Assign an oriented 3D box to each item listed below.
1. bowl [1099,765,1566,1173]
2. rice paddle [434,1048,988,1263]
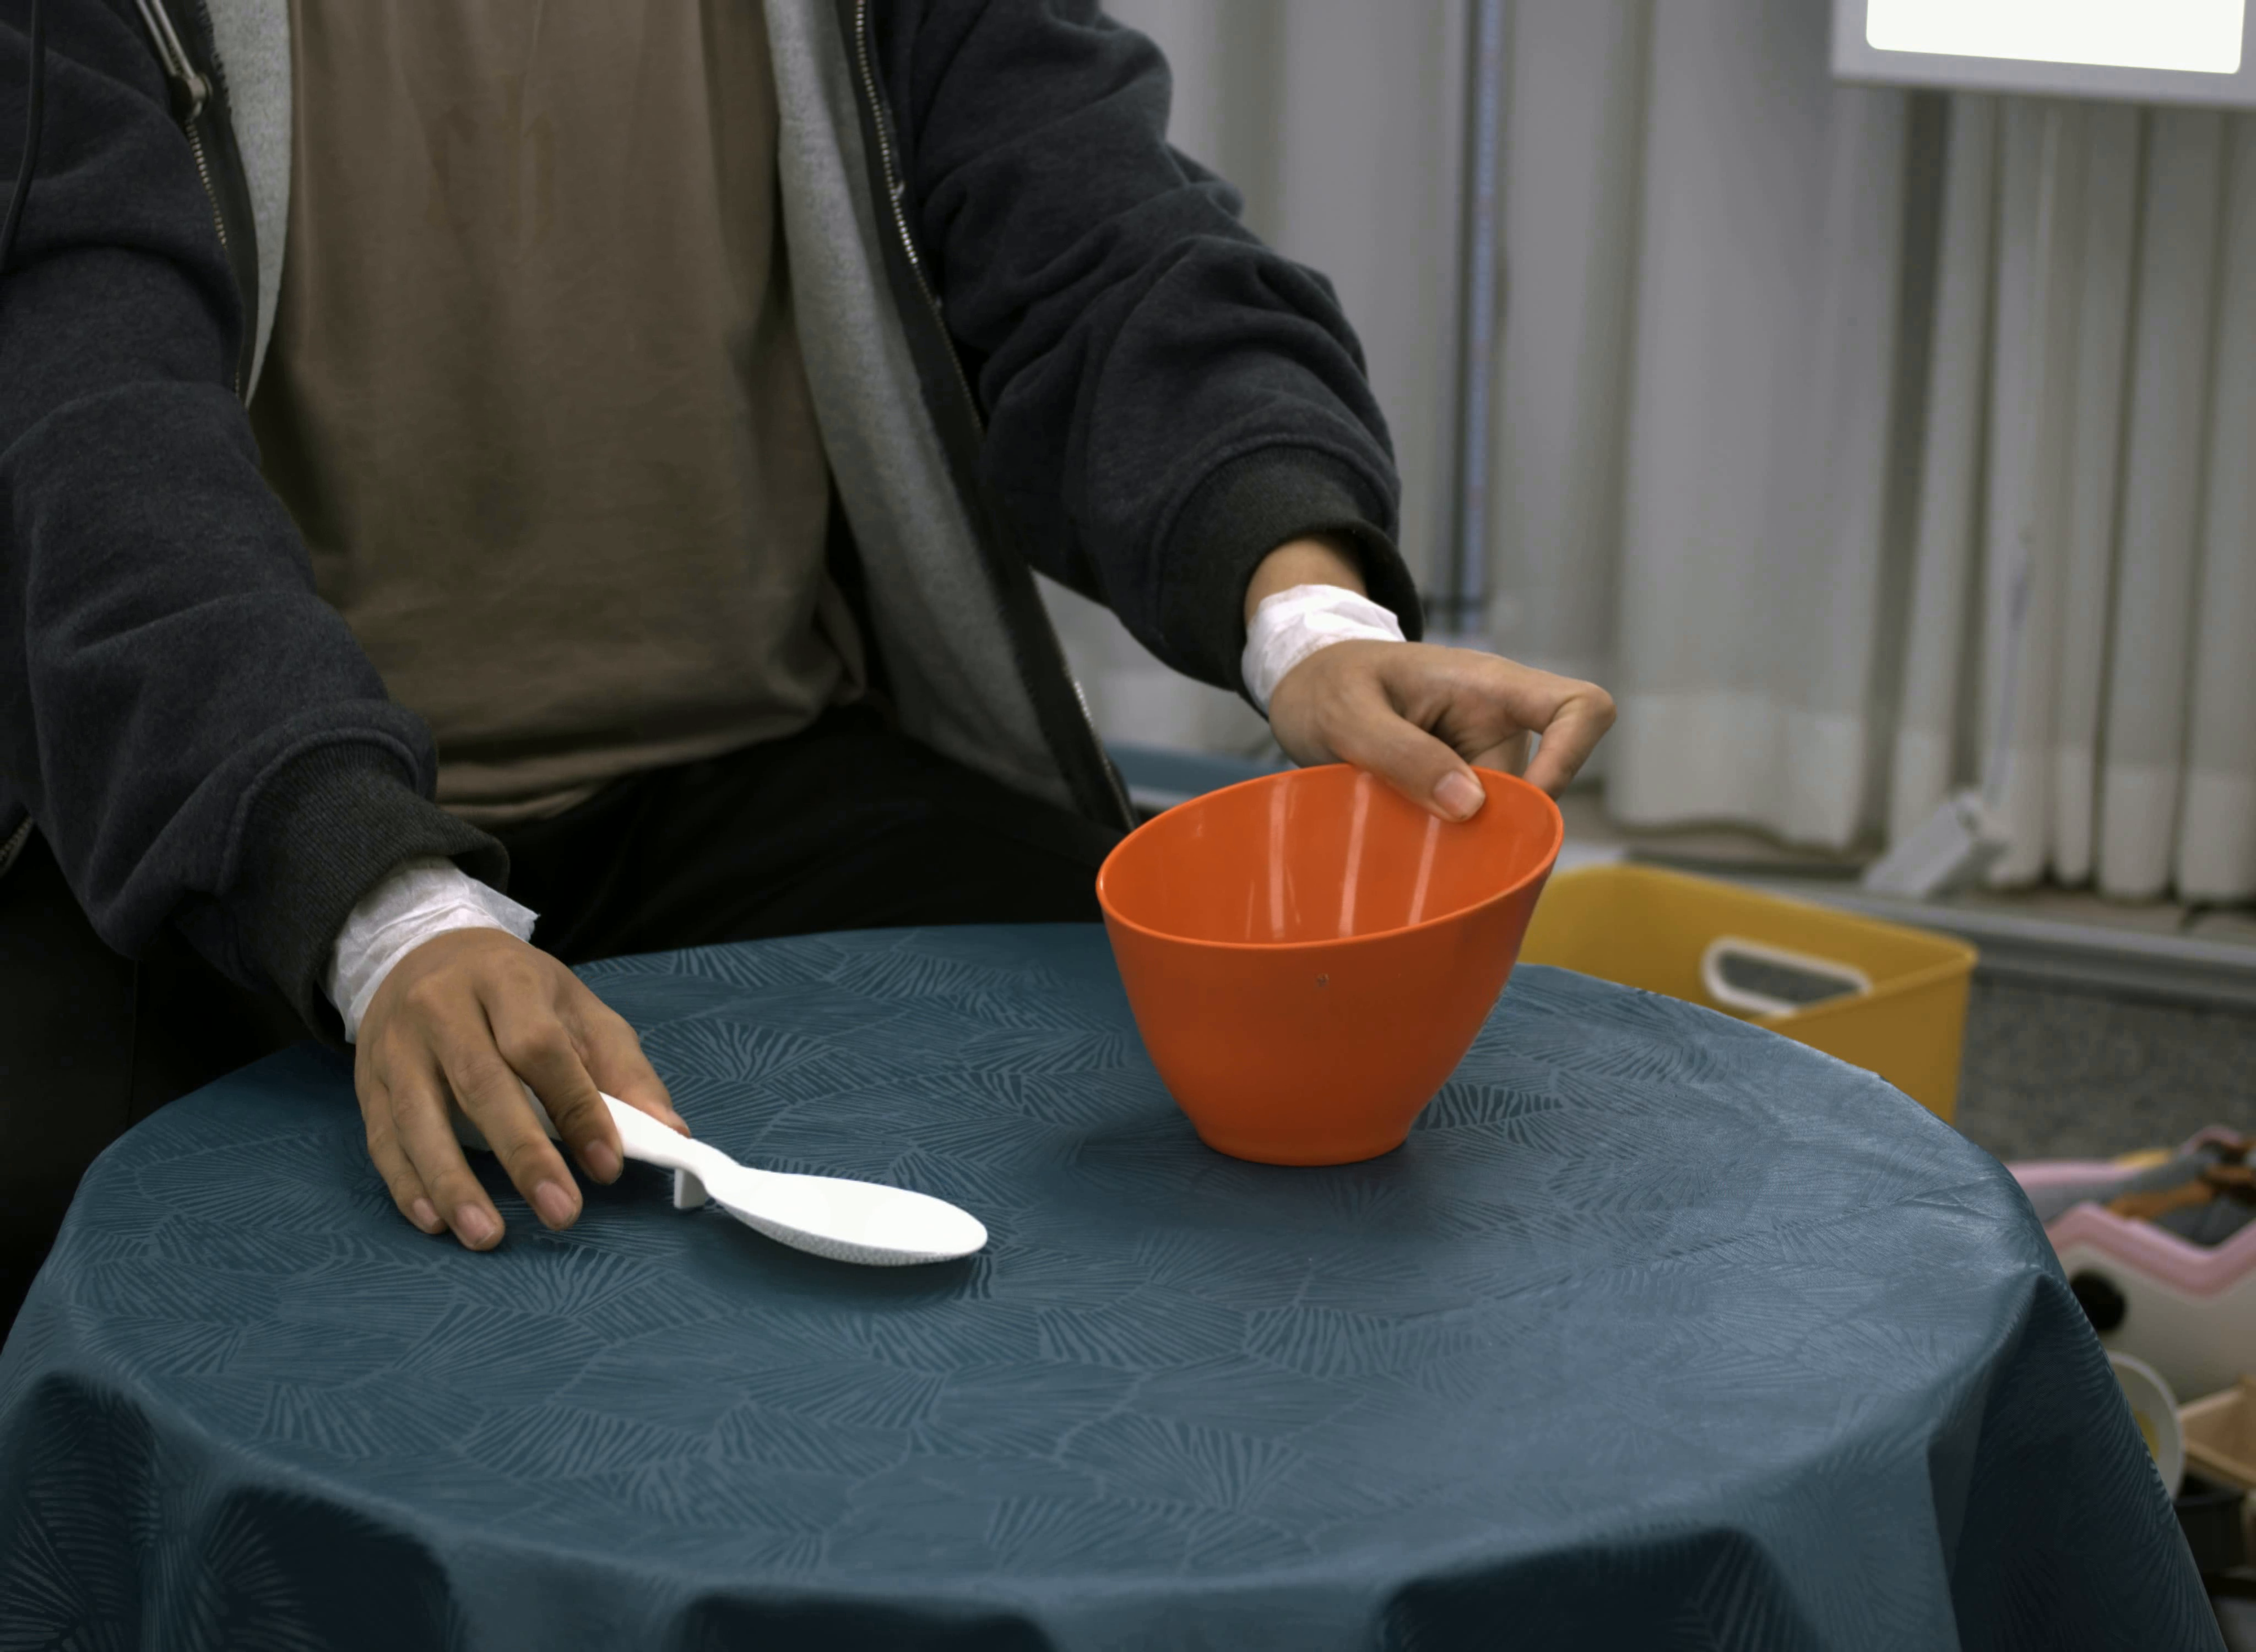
[{"bbox_3d":[0.065,0.048,1.667,0.147,0.105,0.147,0,17,1],"label":"bowl"},{"bbox_3d":[-0.127,0.102,1.595,0.202,0.029,0.069,13,12,35],"label":"rice paddle"}]
